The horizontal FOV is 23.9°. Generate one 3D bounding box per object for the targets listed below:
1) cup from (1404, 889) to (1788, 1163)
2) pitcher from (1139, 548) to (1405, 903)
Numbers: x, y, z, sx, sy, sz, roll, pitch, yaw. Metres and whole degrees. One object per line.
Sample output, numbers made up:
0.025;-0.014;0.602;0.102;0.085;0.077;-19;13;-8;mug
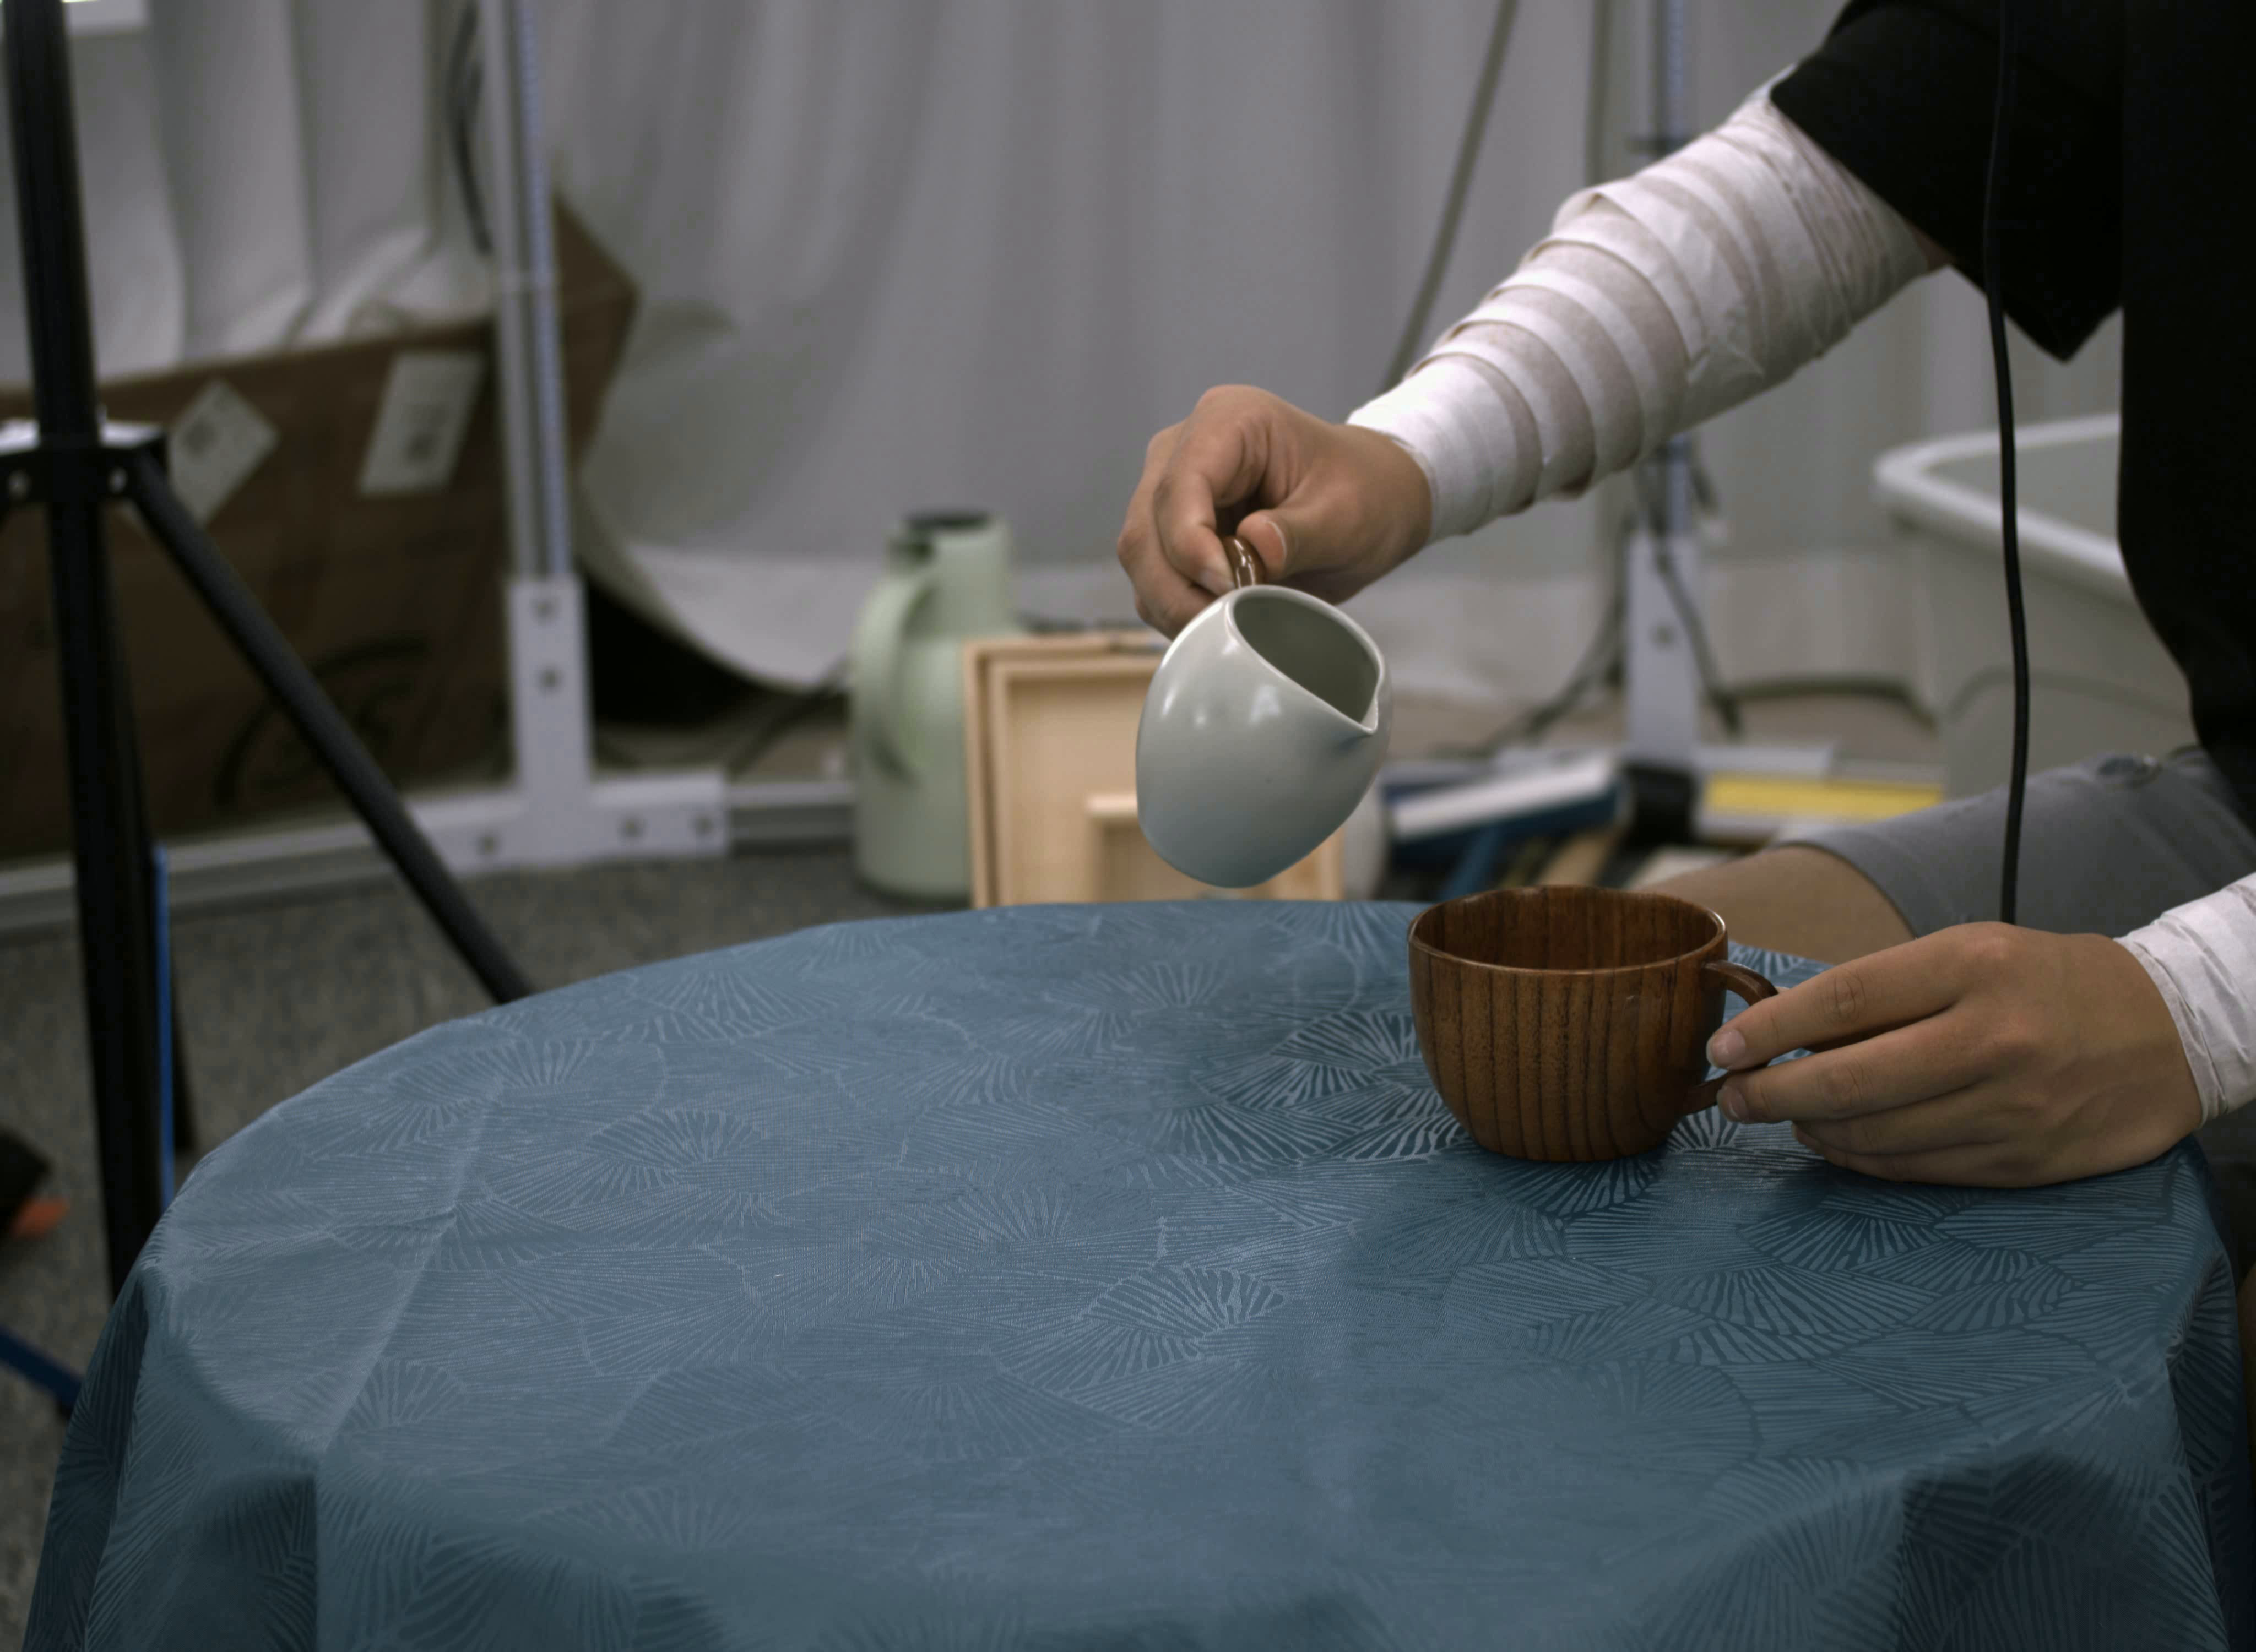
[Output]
0.140;0.063;1.579;0.122;0.068;0.094;9;16;32;cup
0.041;-0.027;1.654;0.074;0.088;0.121;13;38;-26;pitcher
